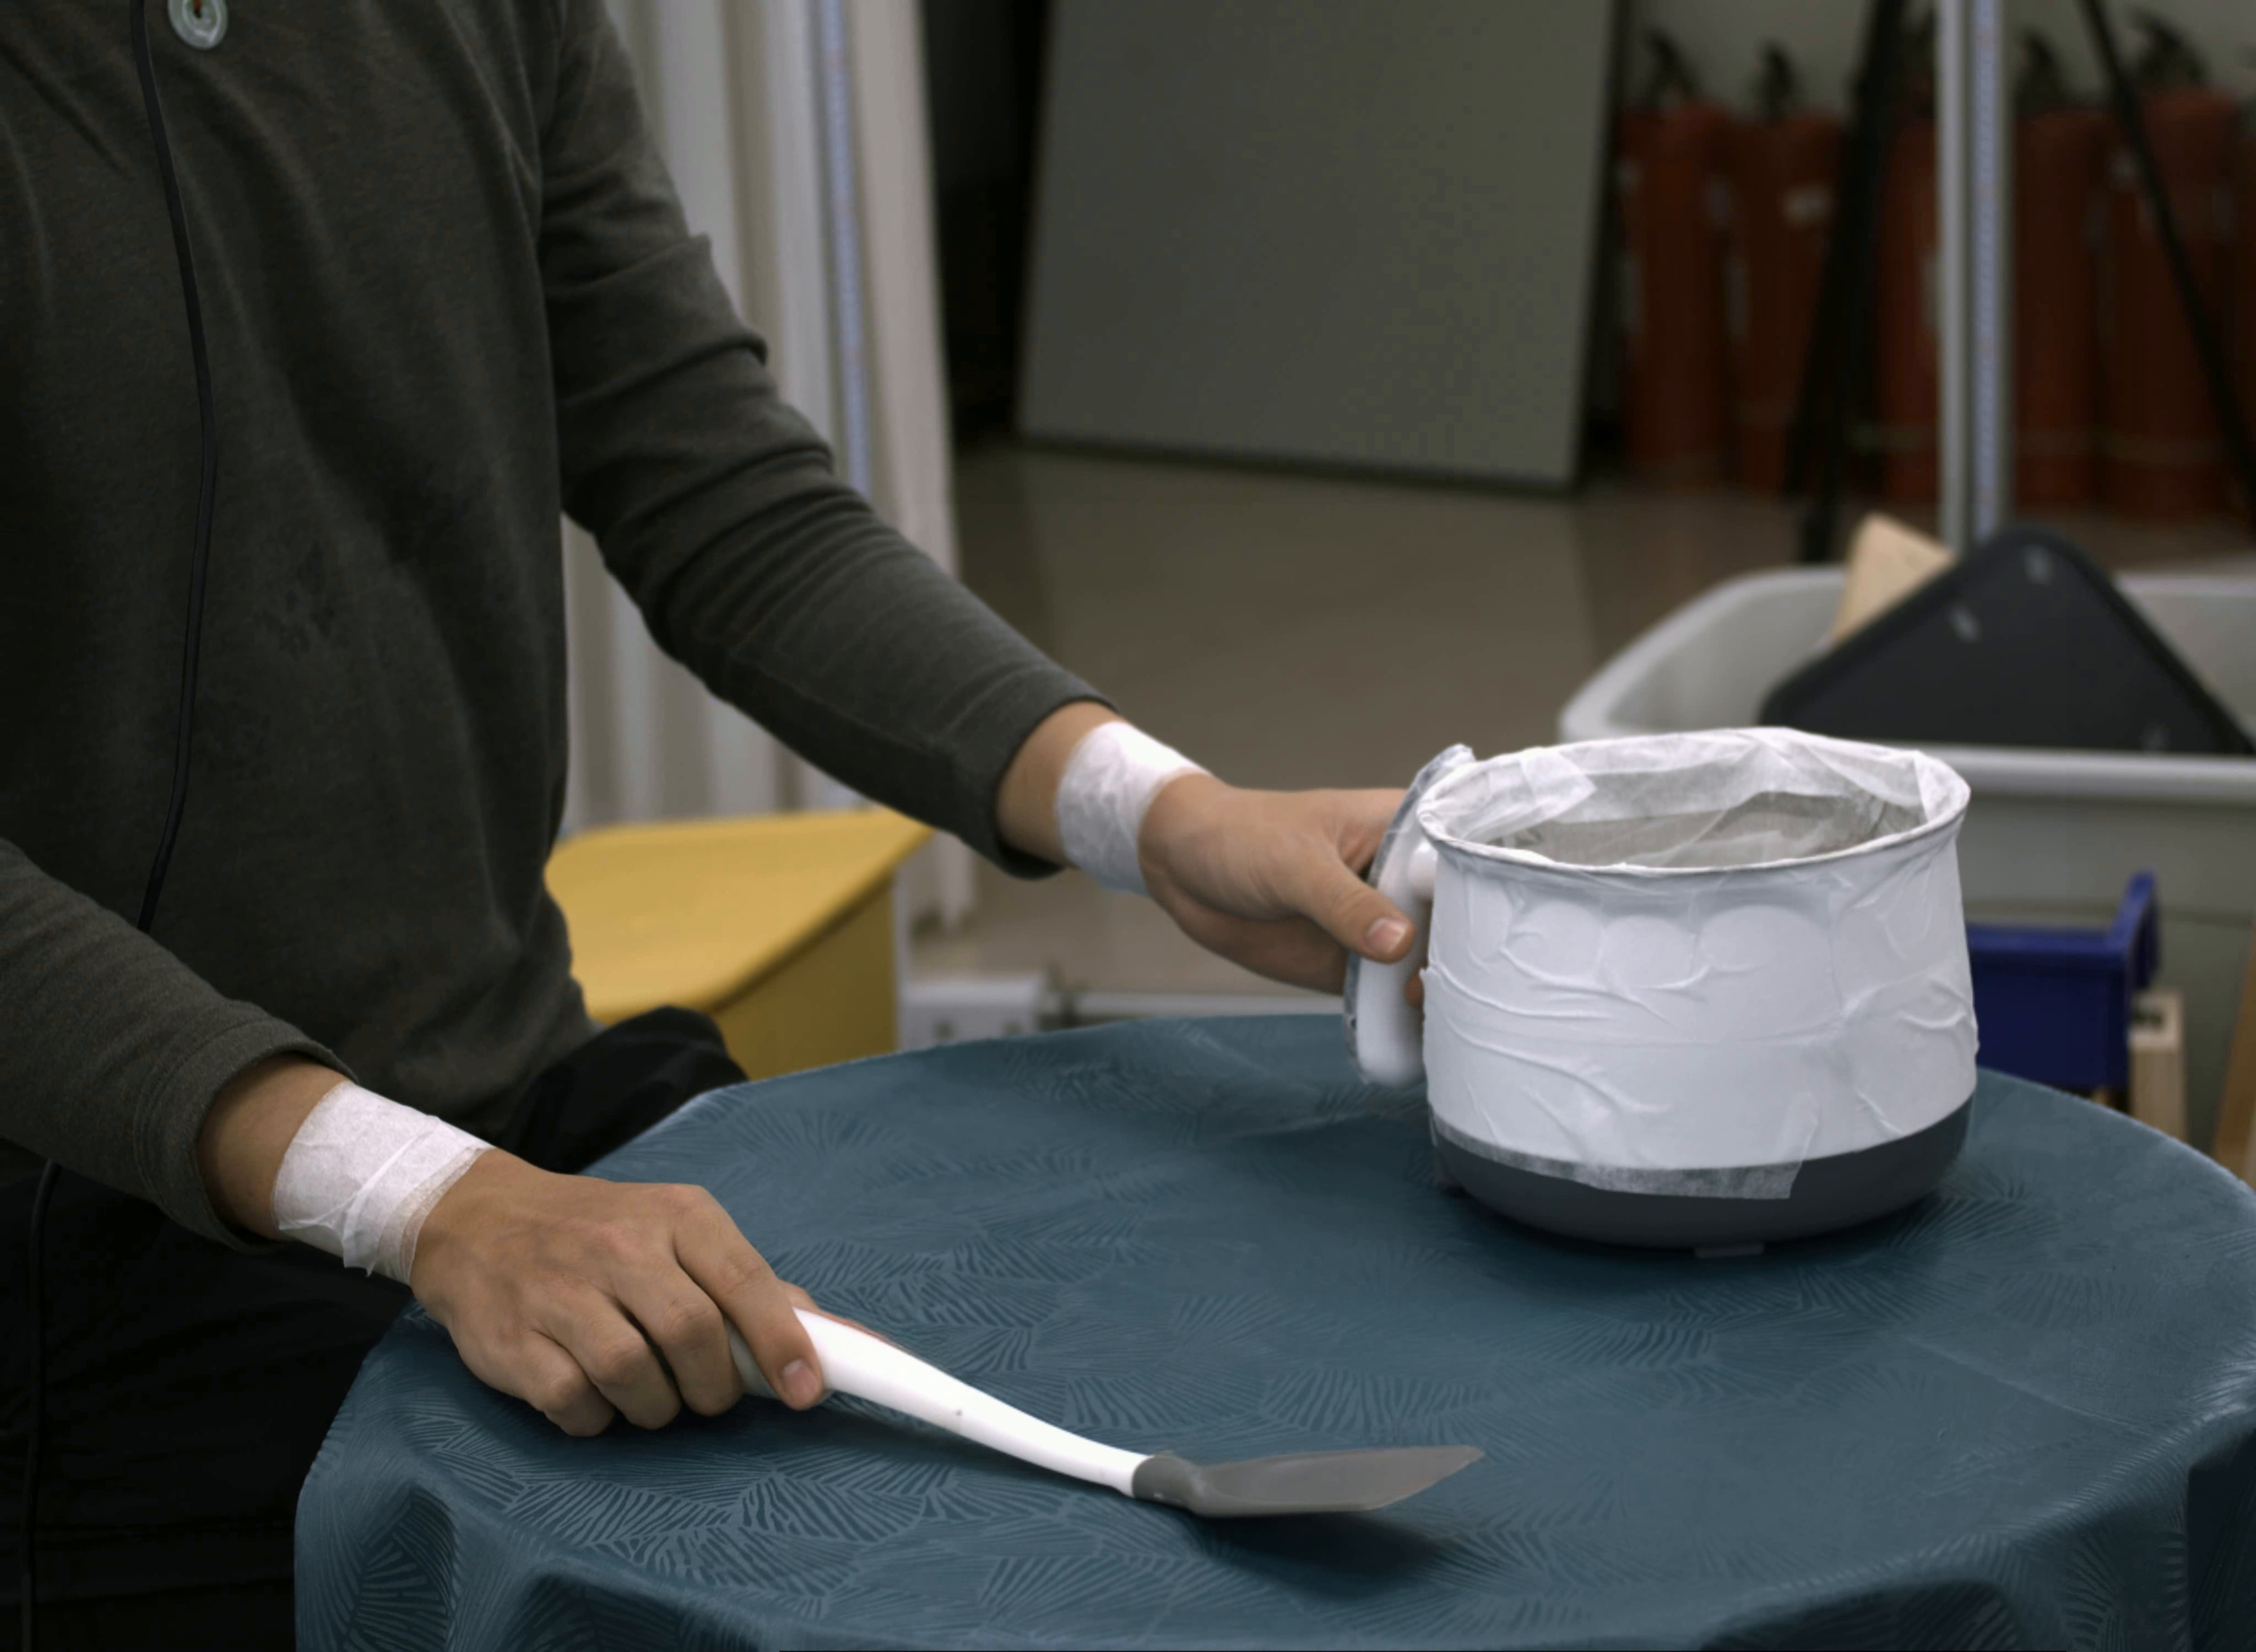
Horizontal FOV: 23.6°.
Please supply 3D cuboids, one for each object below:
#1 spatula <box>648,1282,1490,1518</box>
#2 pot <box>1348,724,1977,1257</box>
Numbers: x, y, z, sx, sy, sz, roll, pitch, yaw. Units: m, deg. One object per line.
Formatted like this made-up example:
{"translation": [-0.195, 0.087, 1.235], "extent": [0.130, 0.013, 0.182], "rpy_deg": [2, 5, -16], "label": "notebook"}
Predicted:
{"translation": [-0.023, 0.167, 1.521], "extent": [0.290, 0.032, 0.057], "rpy_deg": [8, 14, 40], "label": "spatula"}
{"translation": [0.162, 0.047, 1.738], "extent": [0.236, 0.138, 0.175], "rpy_deg": [9, 18, 43], "label": "pot"}
